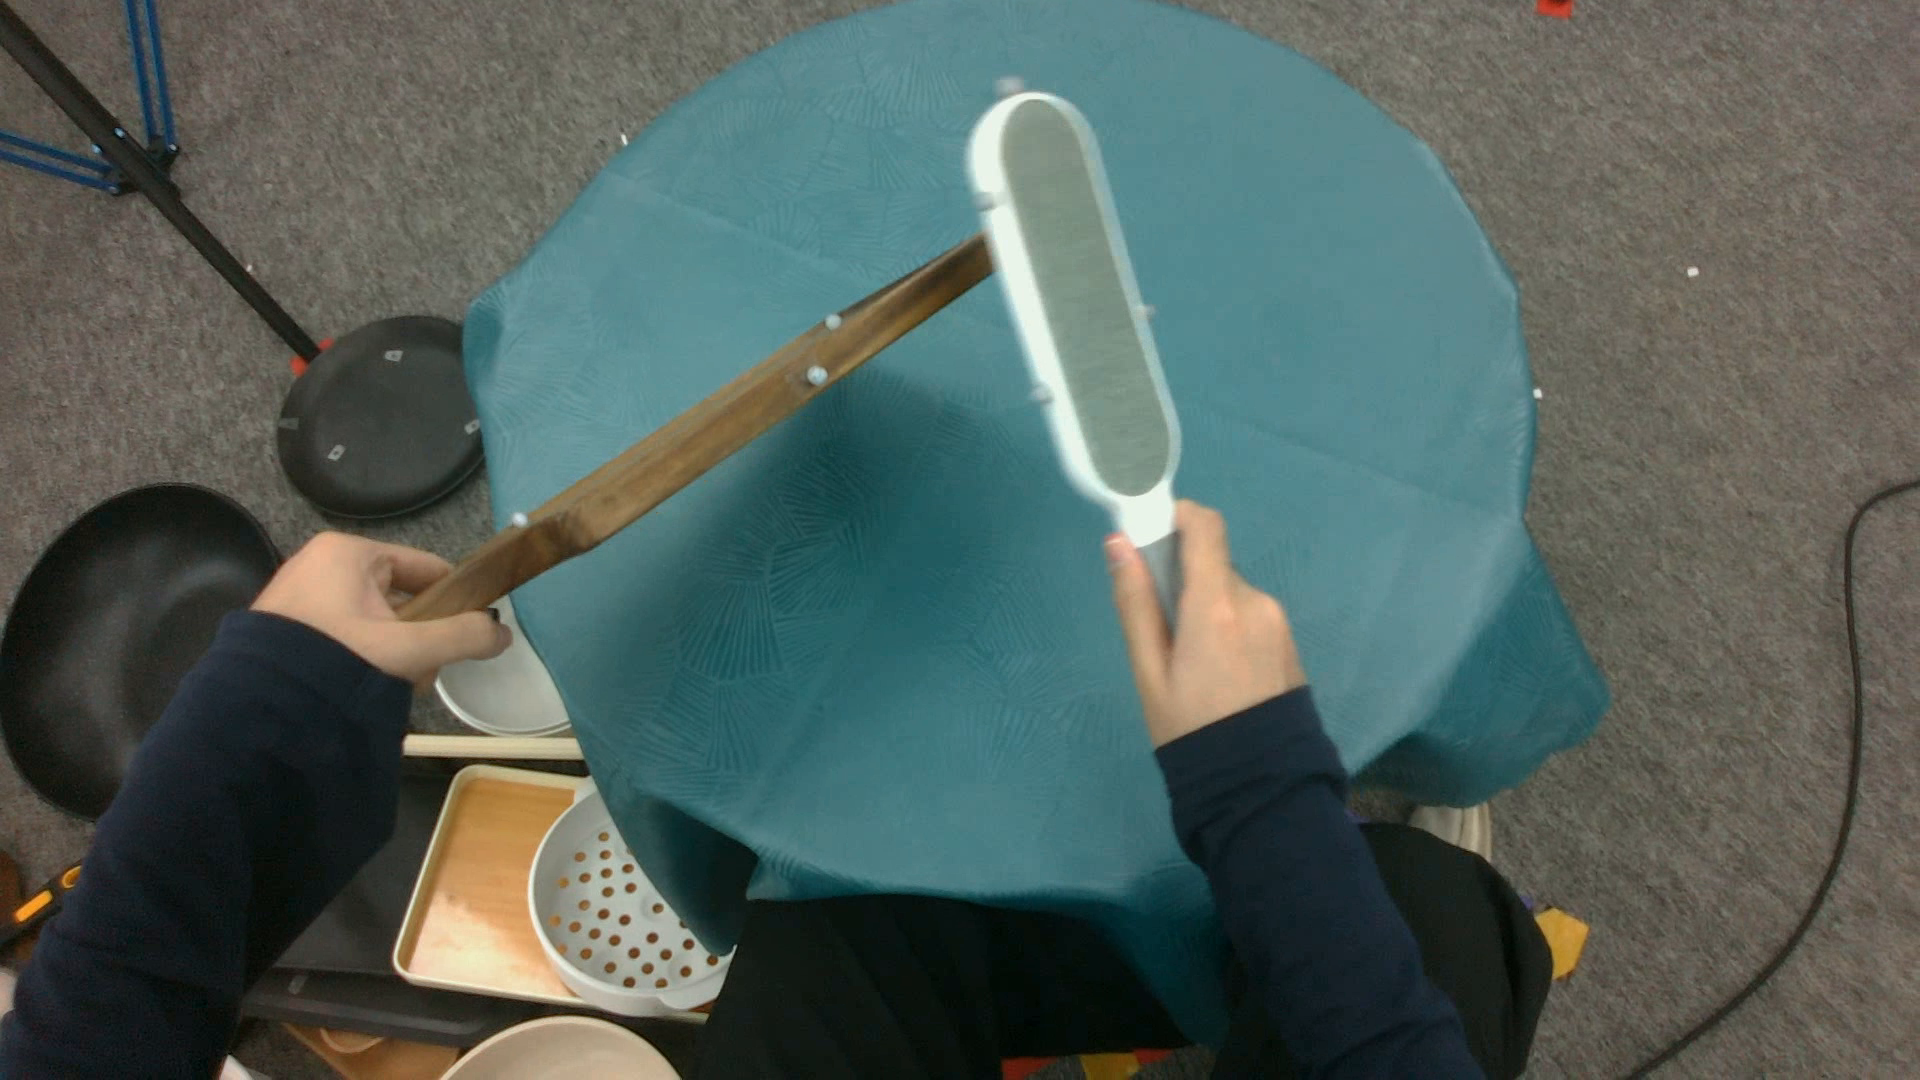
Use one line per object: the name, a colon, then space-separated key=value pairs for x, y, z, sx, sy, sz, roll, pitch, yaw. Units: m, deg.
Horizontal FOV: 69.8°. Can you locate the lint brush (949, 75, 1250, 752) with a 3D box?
lint brush: x=0.065 y=-0.050 z=0.593 sx=0.060 sy=0.021 sz=0.308 roll=-26 pitch=98 yaw=-37

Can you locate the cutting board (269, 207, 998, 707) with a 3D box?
cutting board: x=-0.151 y=-0.041 z=0.631 sx=0.354 sy=0.200 sz=0.023 roll=-40 pitch=106 yaw=-29
